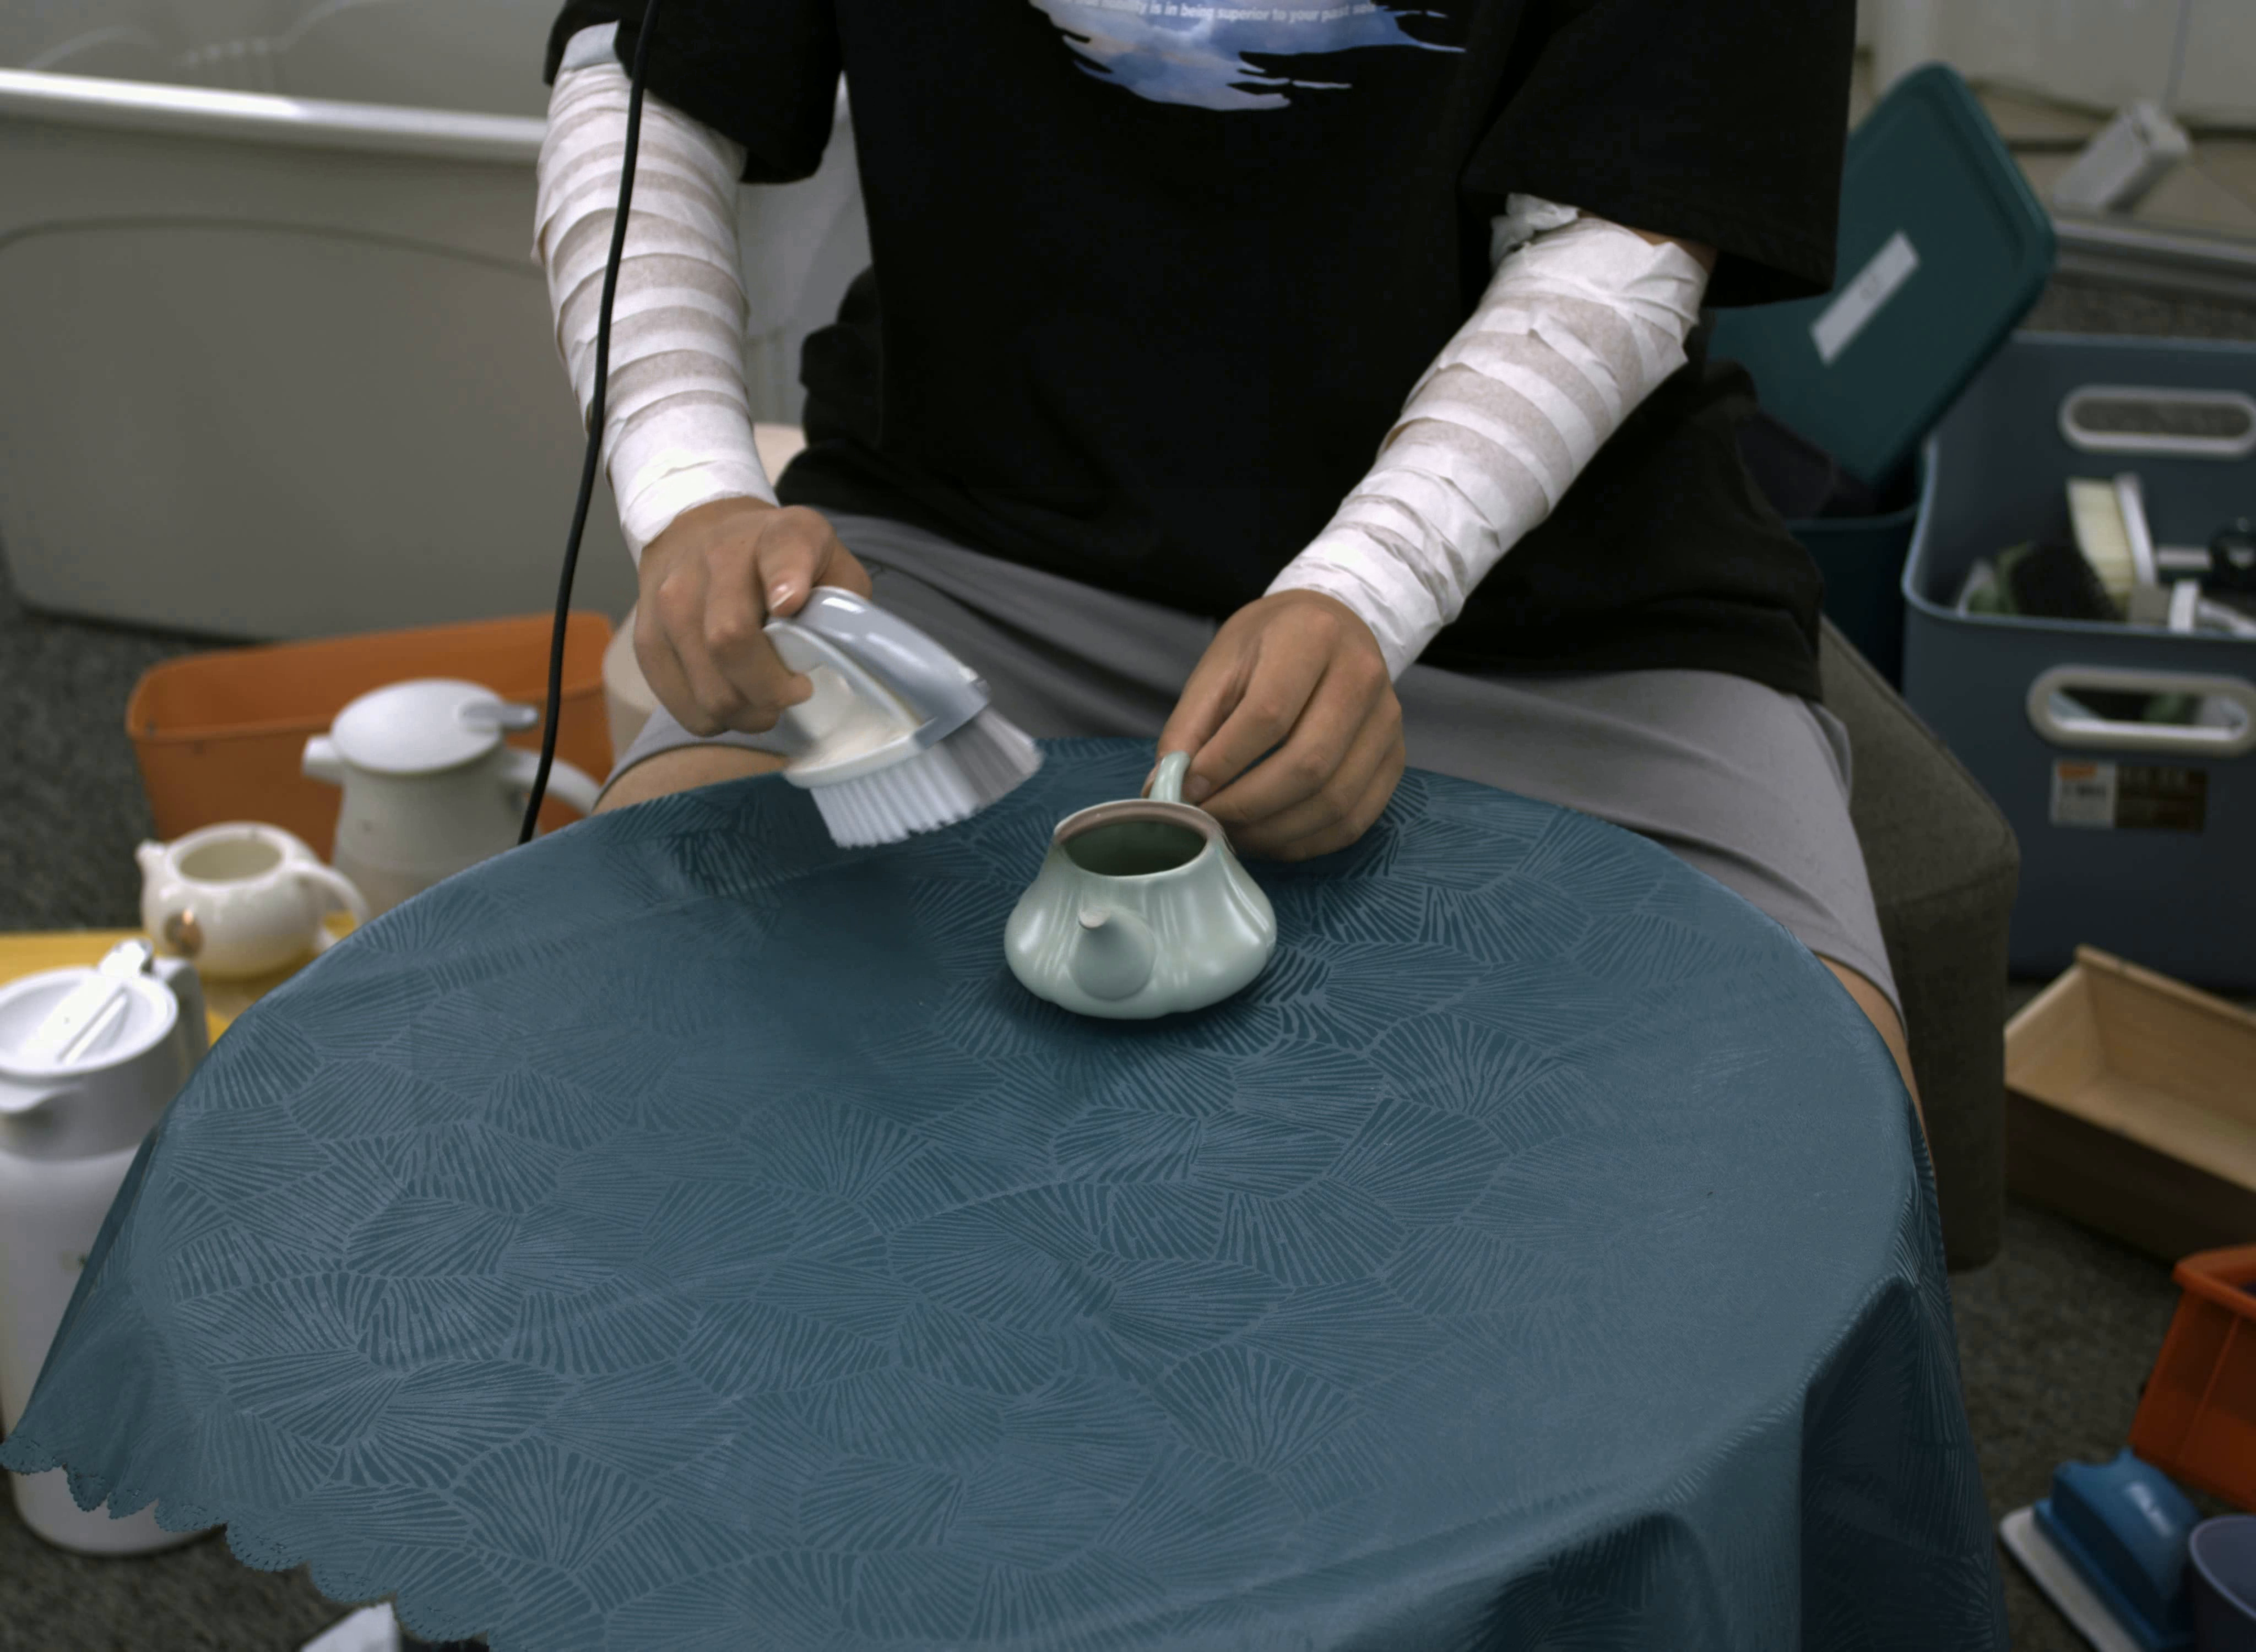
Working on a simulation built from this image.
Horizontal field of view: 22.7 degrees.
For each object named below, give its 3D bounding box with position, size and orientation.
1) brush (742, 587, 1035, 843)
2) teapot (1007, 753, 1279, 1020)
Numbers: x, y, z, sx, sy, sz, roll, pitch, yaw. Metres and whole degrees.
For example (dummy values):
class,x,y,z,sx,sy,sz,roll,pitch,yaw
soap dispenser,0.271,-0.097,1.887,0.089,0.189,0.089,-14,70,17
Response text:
class,x,y,z,sx,sy,sz,roll,pitch,yaw
brush,-0.088,-0.046,1.989,0.062,0.094,0.174,-44,13,-14
teapot,0.005,0.026,1.981,0.095,0.061,0.139,1,27,12
